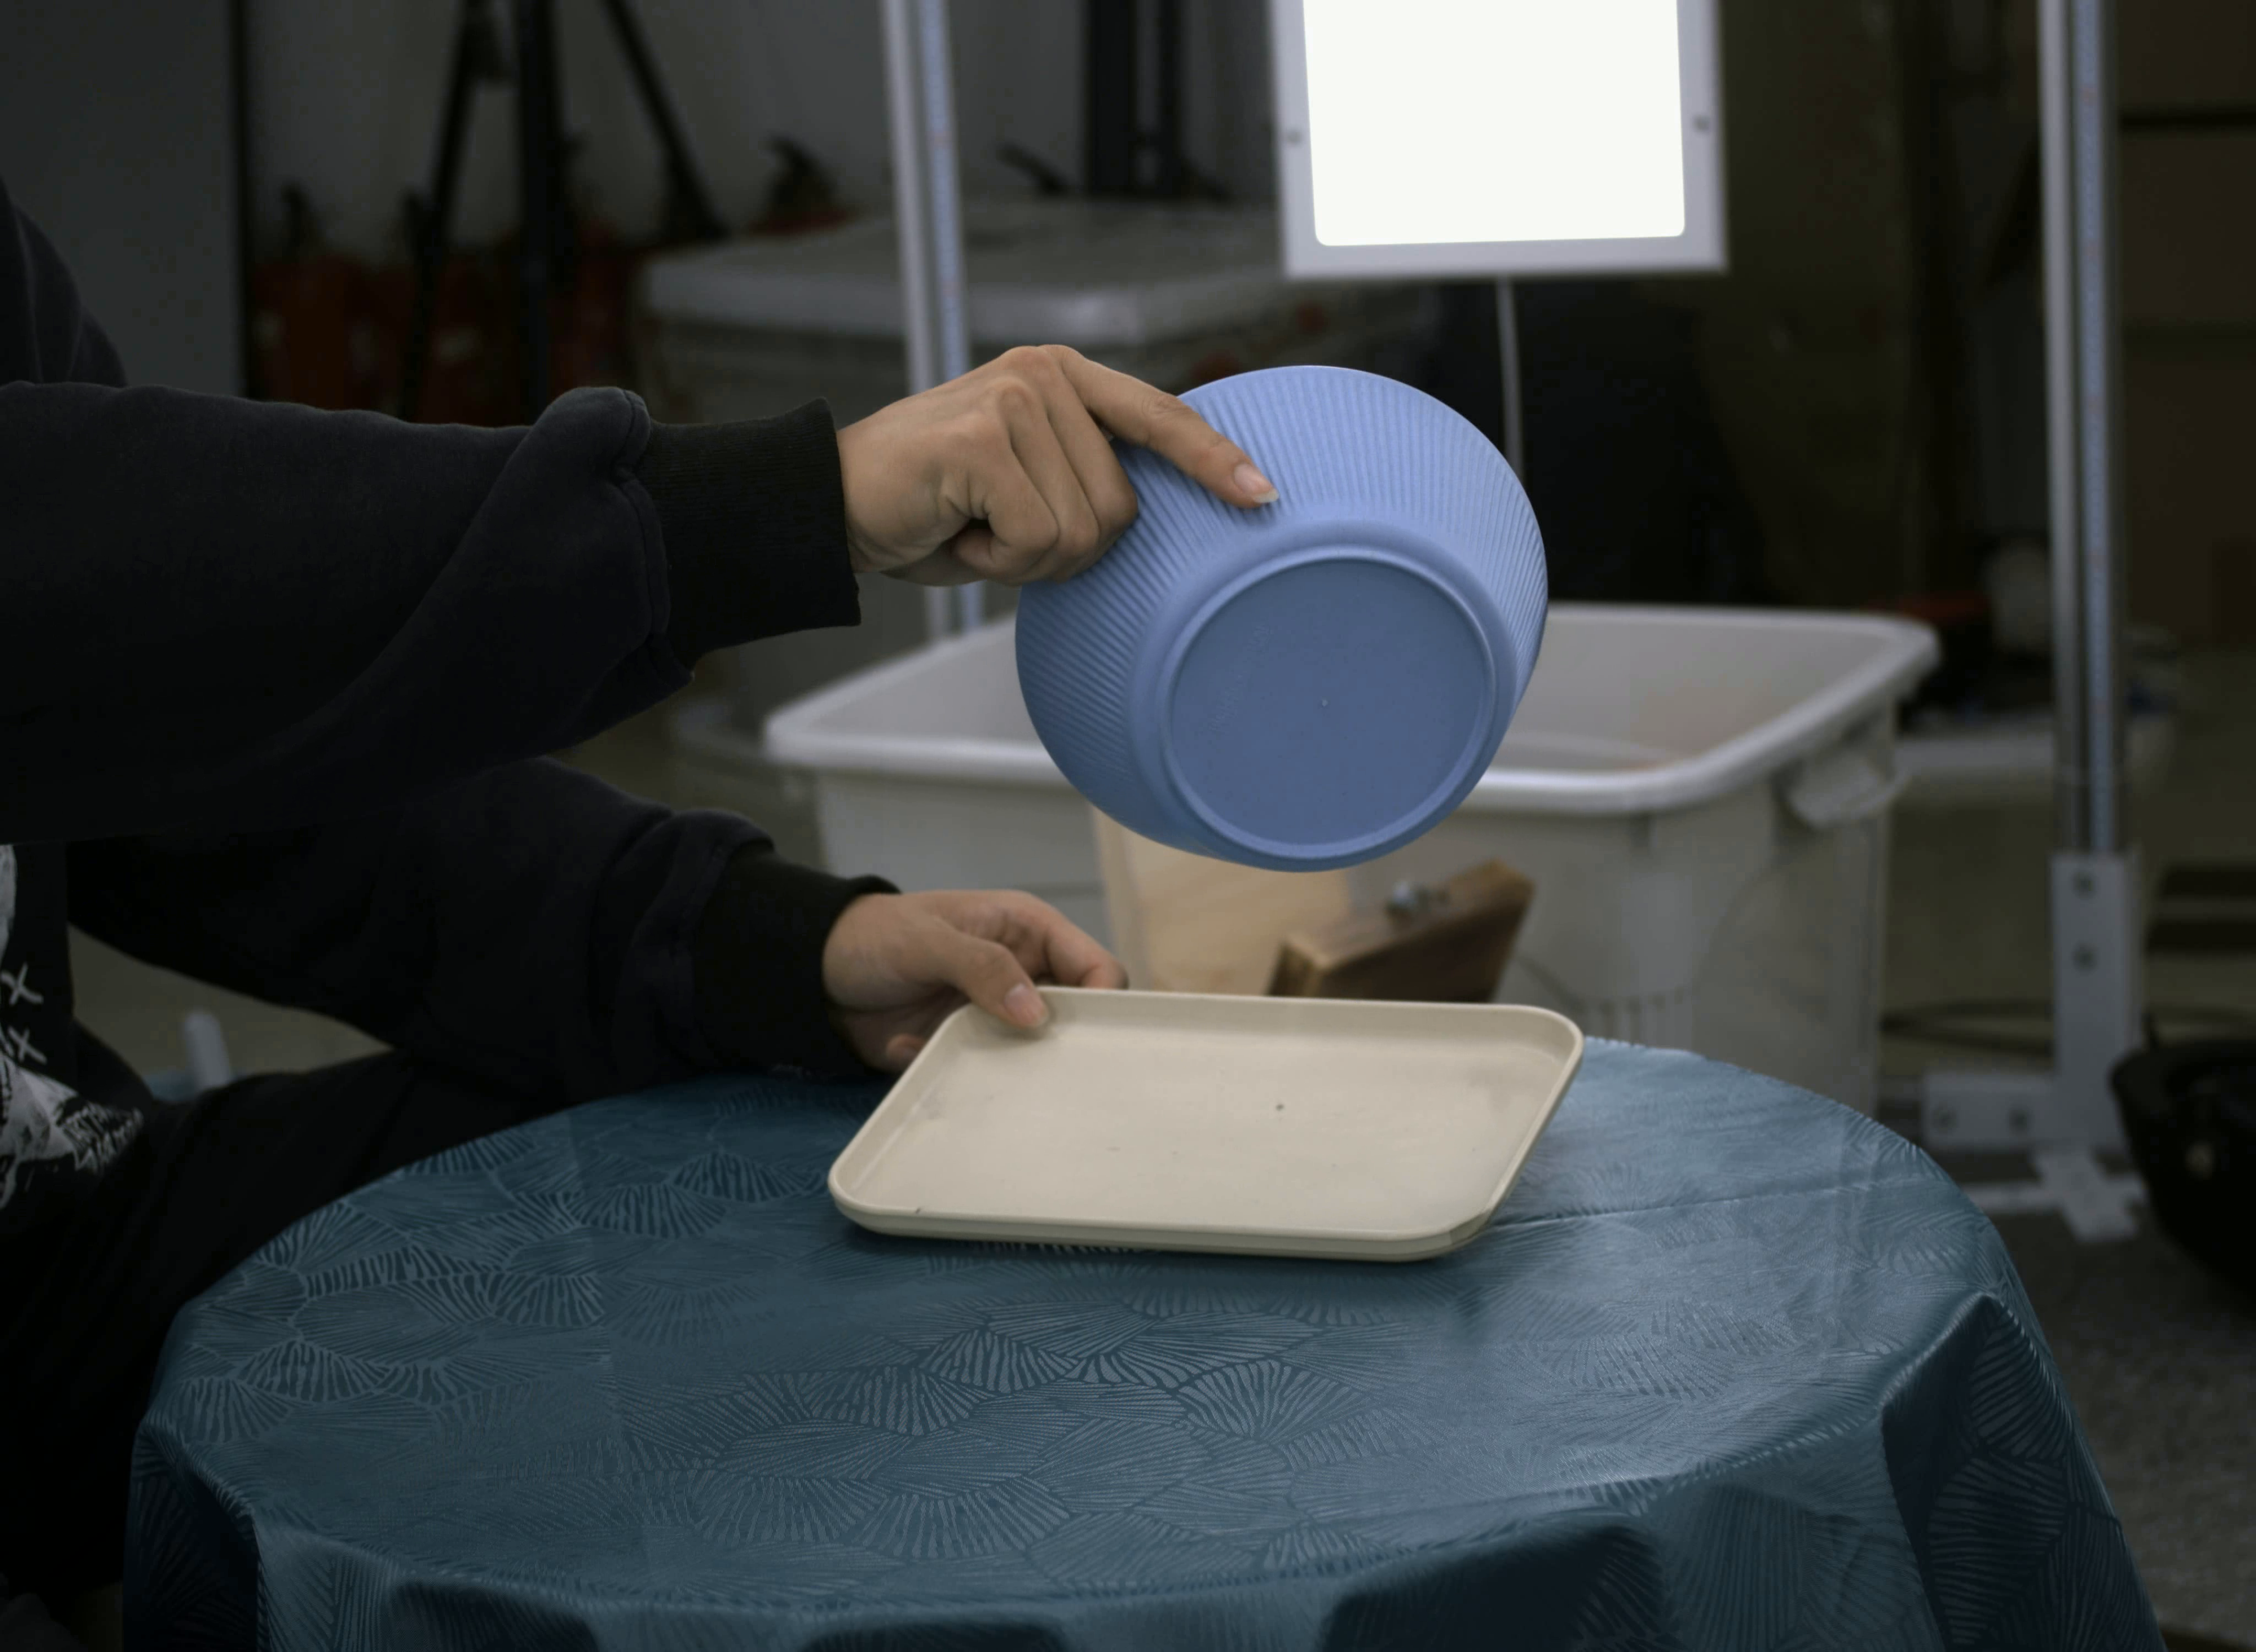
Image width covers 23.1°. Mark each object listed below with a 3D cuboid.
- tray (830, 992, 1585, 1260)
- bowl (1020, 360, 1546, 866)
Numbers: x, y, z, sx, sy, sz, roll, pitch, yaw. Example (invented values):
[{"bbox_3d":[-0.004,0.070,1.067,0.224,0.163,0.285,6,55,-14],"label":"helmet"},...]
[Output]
[{"bbox_3d":[0.029,0.103,1.893,0.243,0.017,0.168,1,25,22],"label":"tray"},{"bbox_3d":[0.057,-0.054,1.738,0.174,0.177,0.070,-6,29,-8],"label":"bowl"}]
